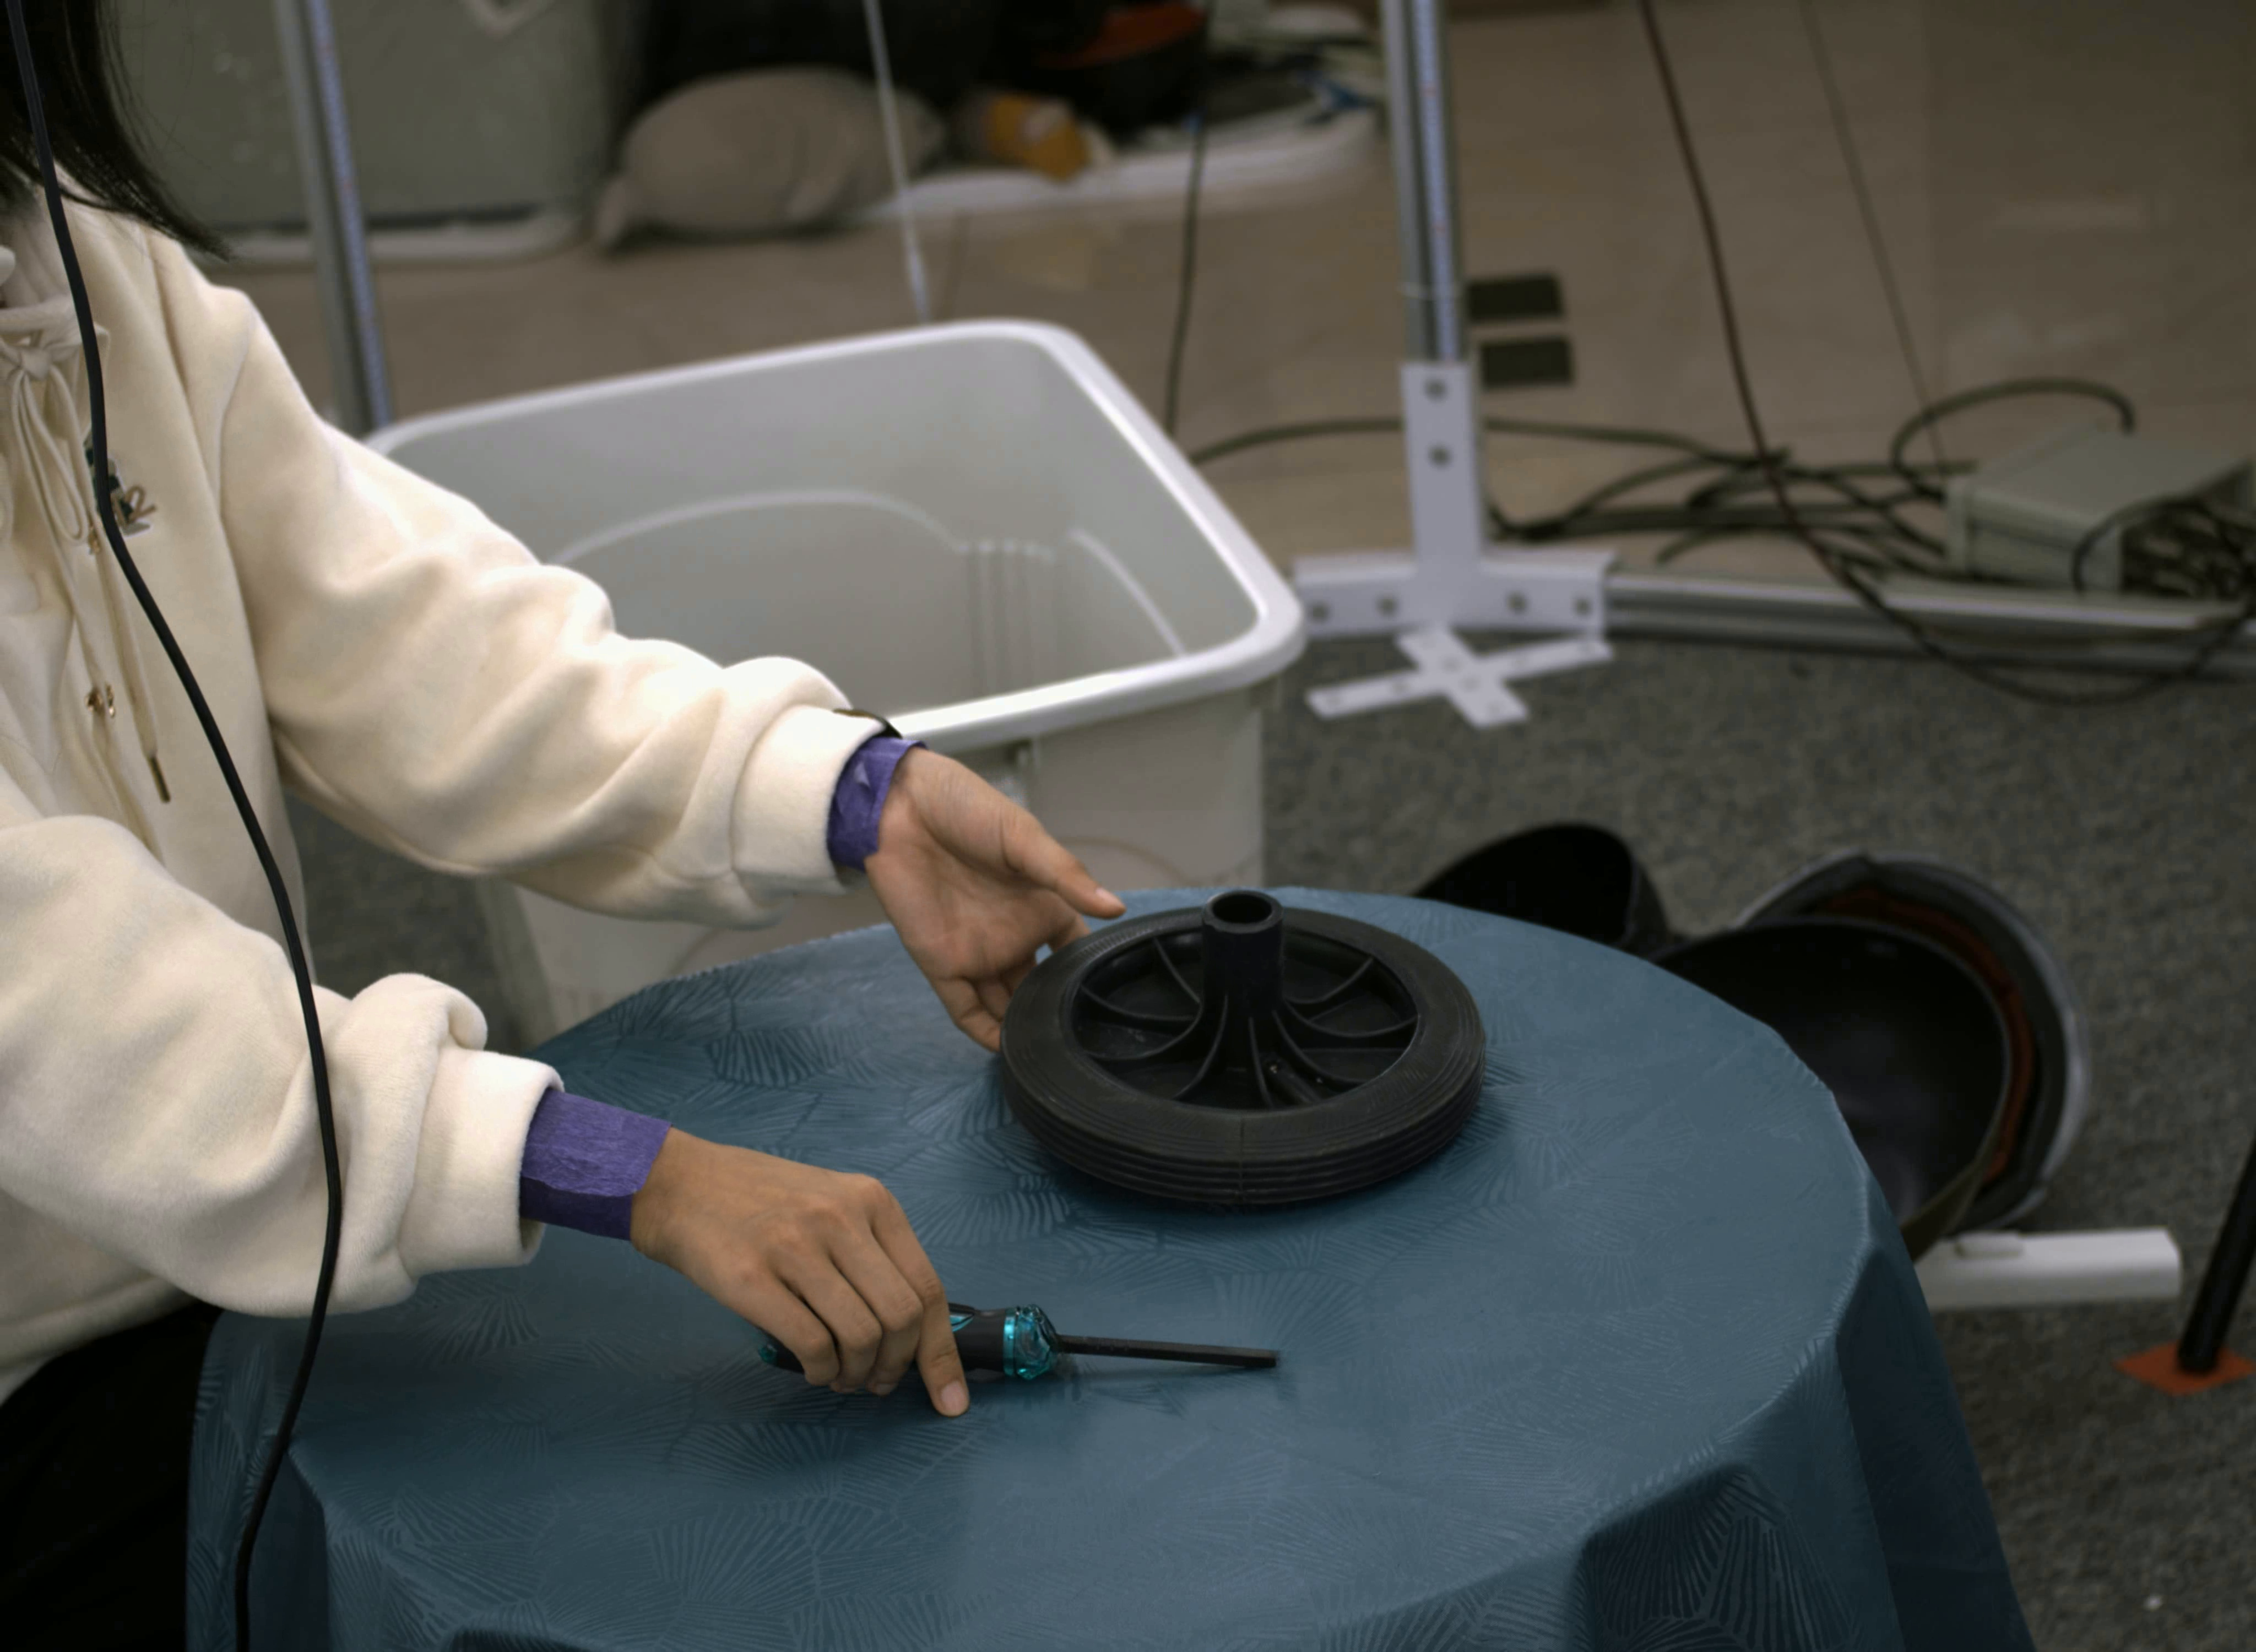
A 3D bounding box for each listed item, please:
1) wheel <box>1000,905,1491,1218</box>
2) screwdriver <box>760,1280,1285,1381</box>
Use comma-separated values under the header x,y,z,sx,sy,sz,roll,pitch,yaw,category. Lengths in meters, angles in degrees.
x,y,z,sx,sy,sz,roll,pitch,yaw,category
0.046,0.072,2.179,0.188,0.080,0.185,23,38,30,wheel
-0.038,0.185,2.029,0.189,0.034,0.033,5,27,7,screwdriver
